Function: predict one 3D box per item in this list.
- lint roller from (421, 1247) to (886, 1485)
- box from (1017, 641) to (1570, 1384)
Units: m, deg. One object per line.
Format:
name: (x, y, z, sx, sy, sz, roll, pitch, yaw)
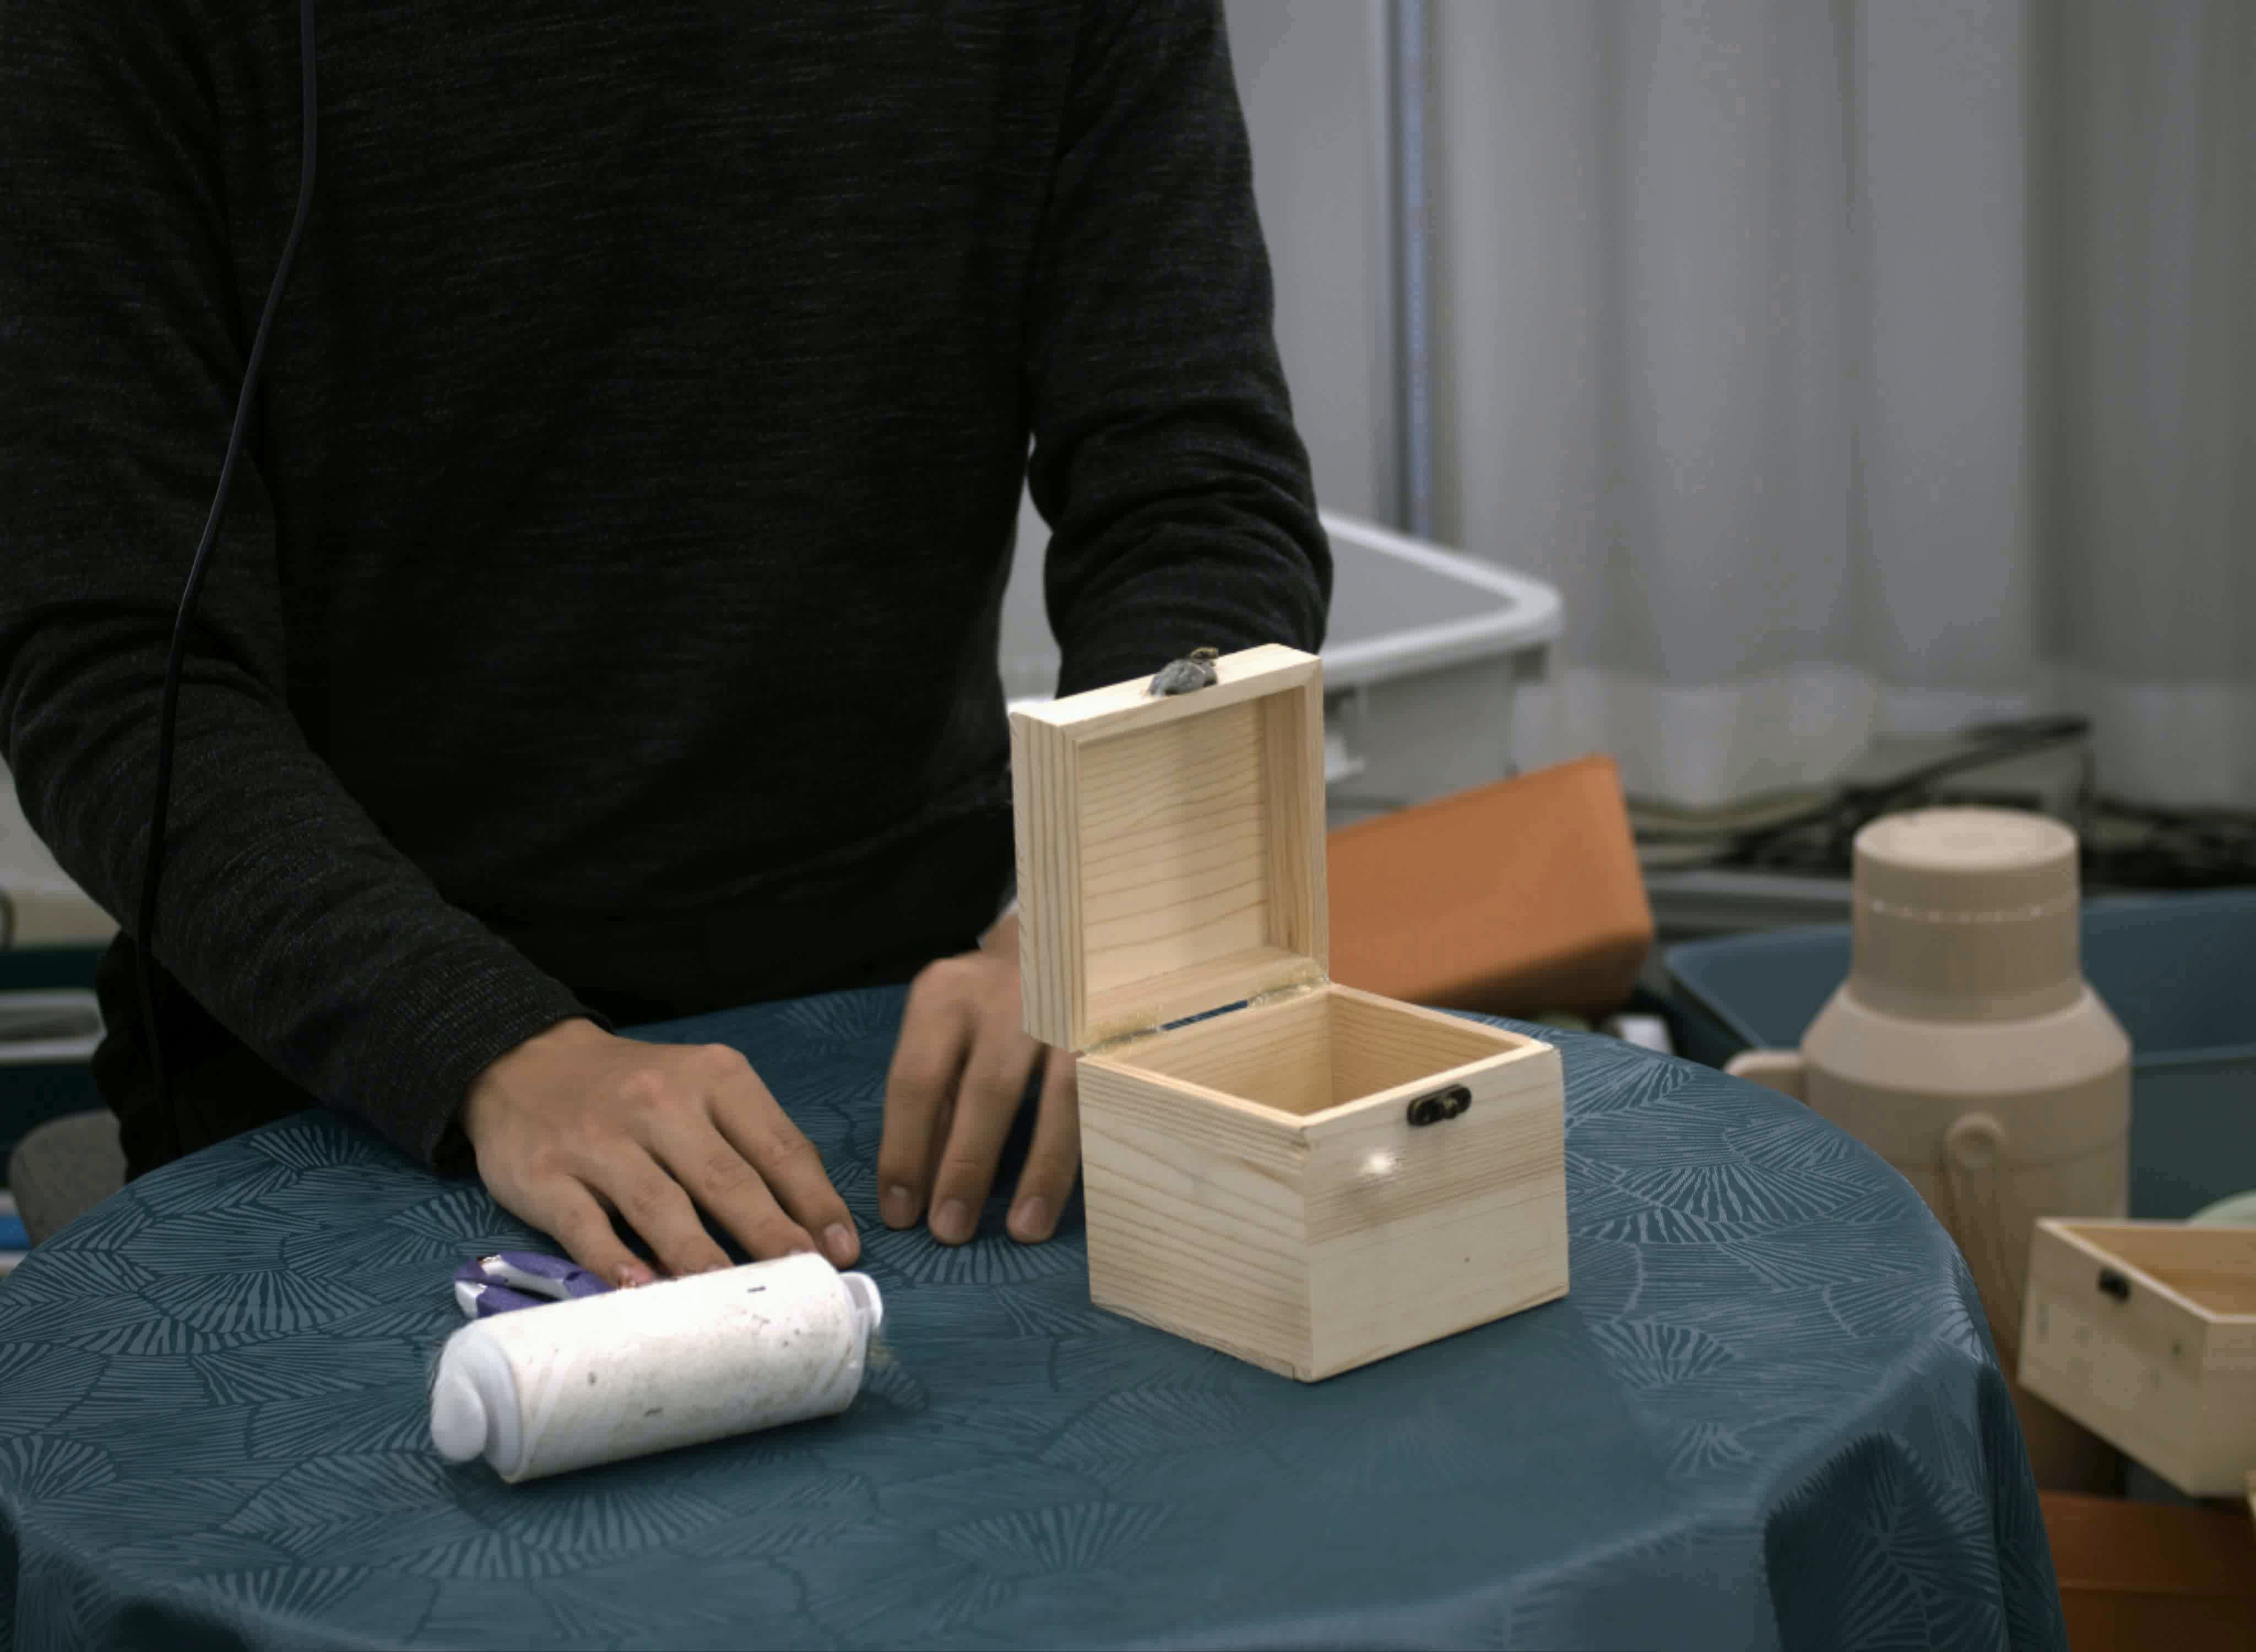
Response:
lint roller: (-0.156, 0.135, 1.575, 0.132, 0.050, 0.182, -10, 18, -22)
box: (0.049, 0.050, 1.593, 0.102, 0.184, 0.135, -13, 17, -37)
